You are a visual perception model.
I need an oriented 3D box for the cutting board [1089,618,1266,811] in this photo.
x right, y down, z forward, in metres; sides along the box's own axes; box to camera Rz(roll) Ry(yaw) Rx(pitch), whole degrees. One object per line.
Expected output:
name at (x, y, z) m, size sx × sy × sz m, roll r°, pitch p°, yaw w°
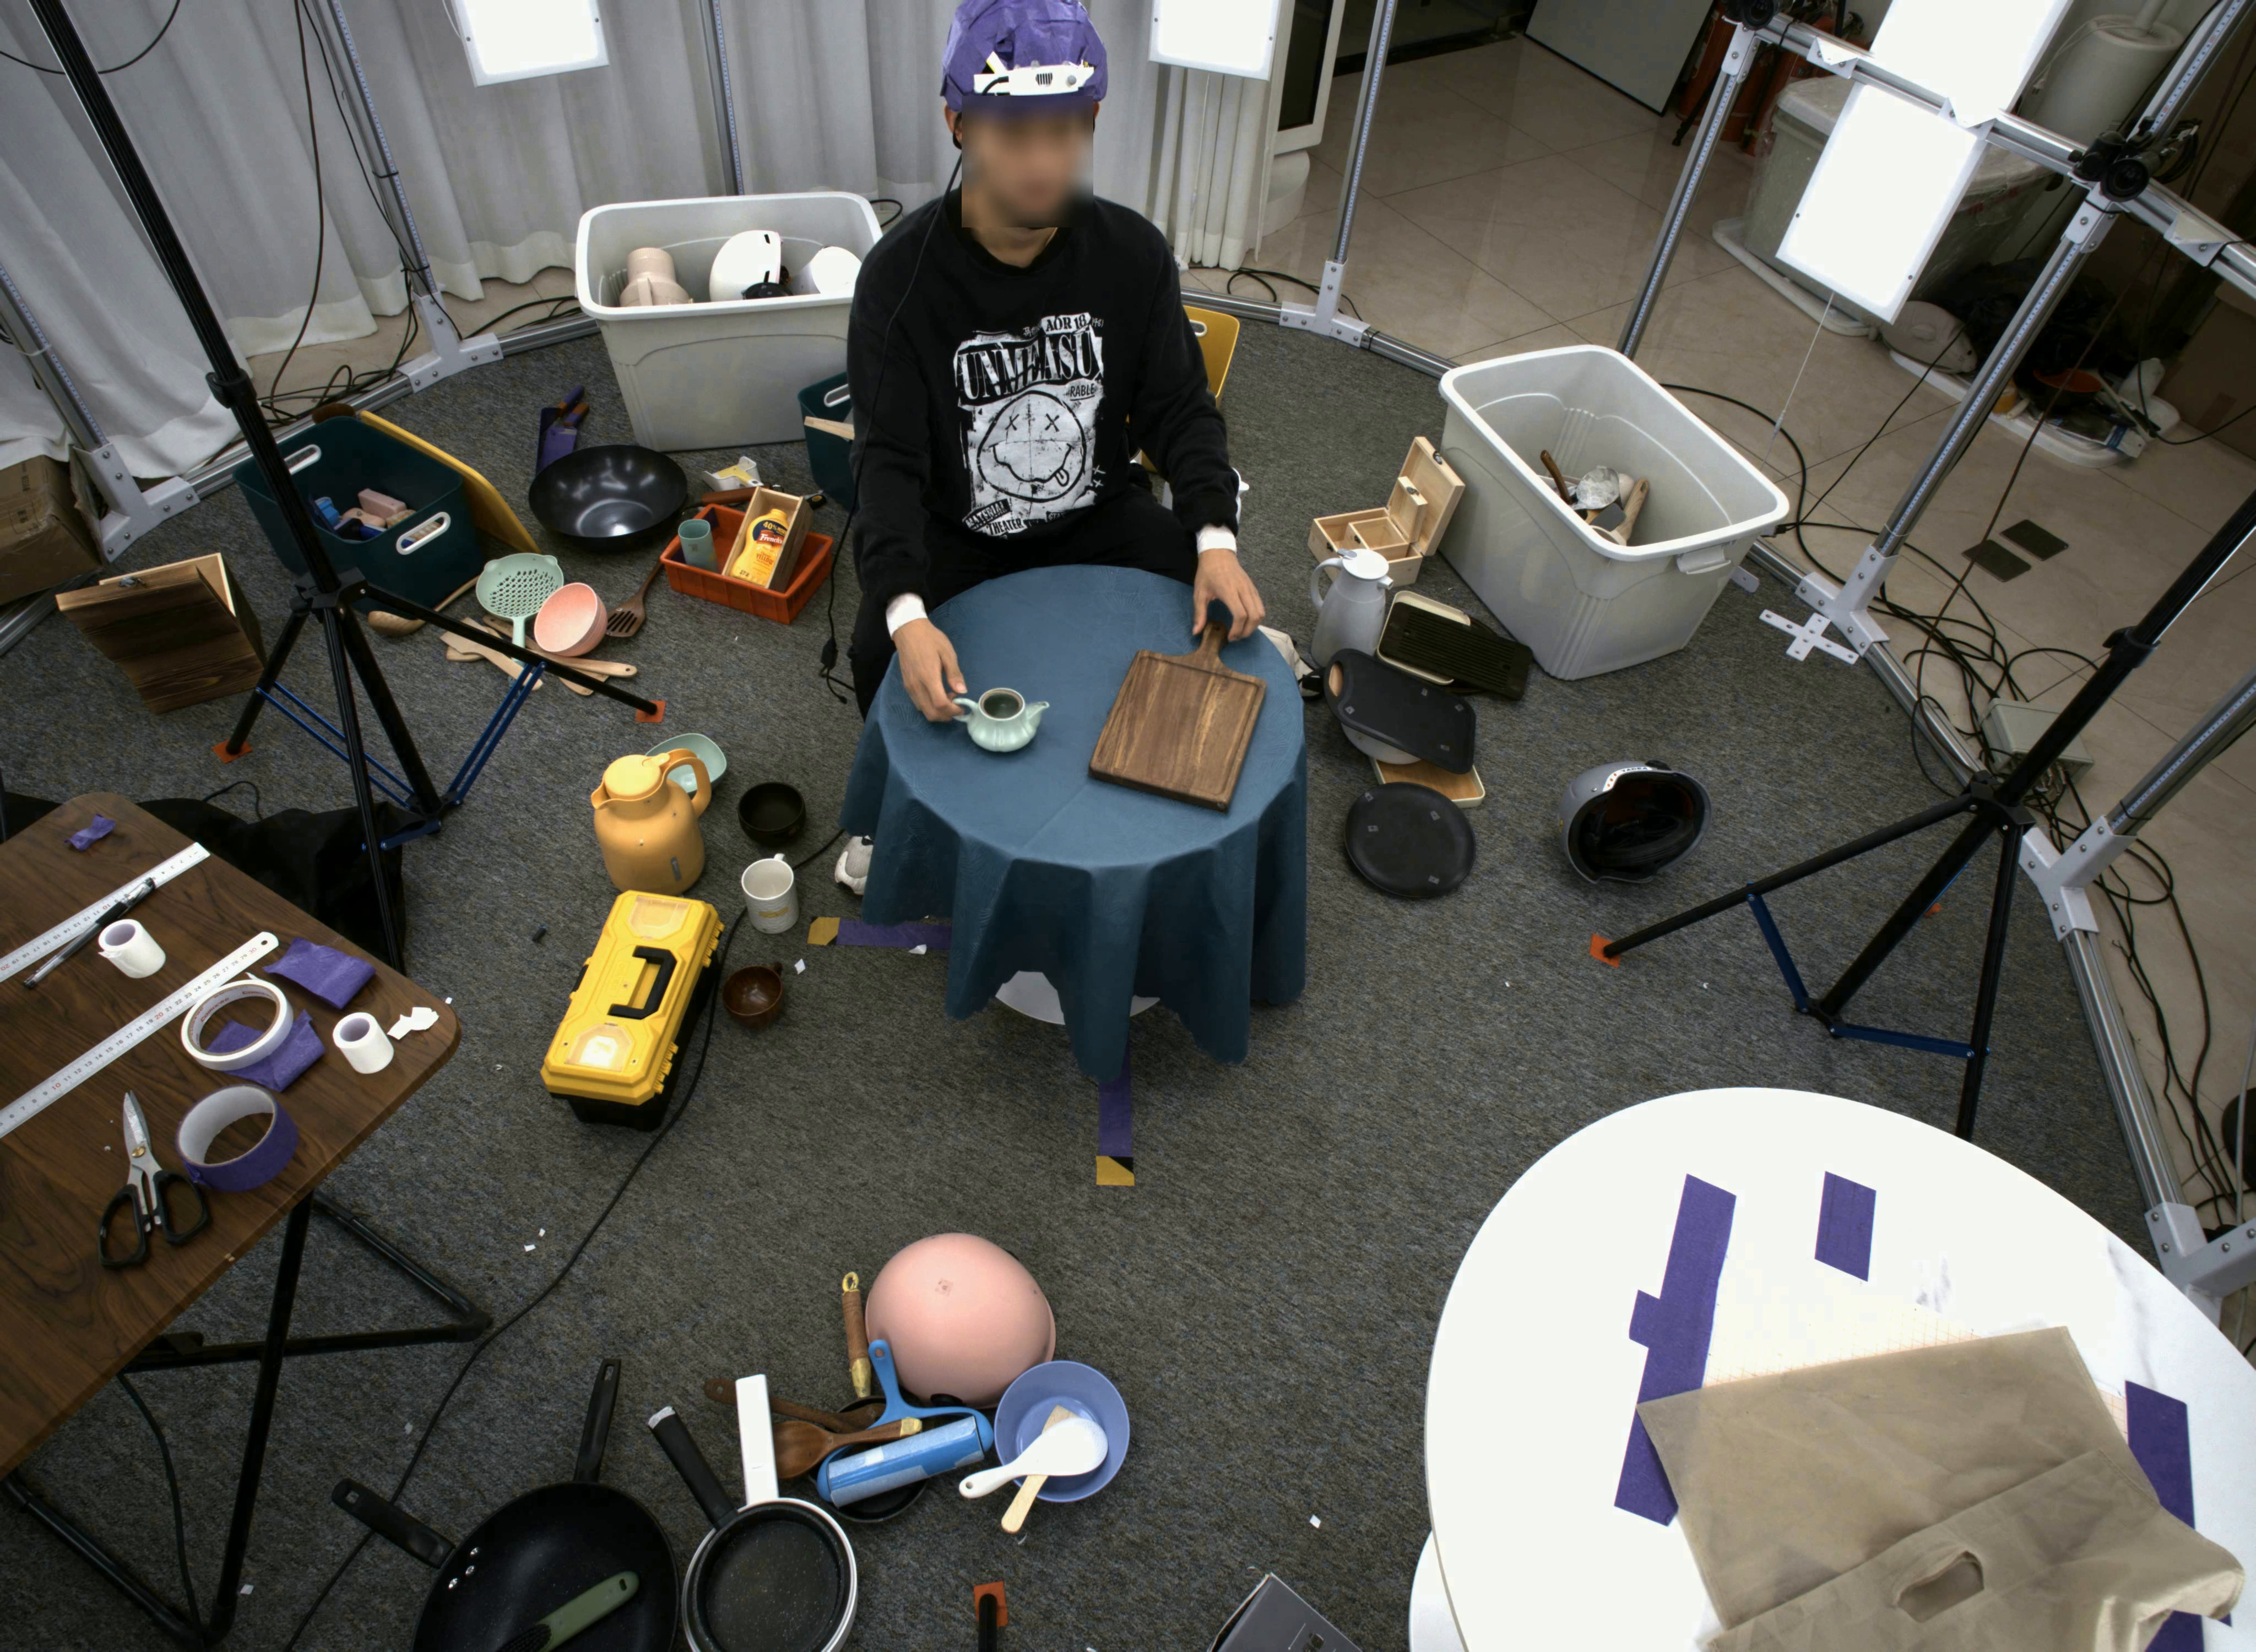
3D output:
cutting board at (0.086, -0.175, 1.812) m, size 0.201 × 0.022 × 0.360 m, roll 14°, pitch 50°, yaw 8°

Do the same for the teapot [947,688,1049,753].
teapot at (-0.176, -0.147, 1.748) m, size 0.137 × 0.060 × 0.098 m, roll 0°, pitch 50°, yaw -4°
